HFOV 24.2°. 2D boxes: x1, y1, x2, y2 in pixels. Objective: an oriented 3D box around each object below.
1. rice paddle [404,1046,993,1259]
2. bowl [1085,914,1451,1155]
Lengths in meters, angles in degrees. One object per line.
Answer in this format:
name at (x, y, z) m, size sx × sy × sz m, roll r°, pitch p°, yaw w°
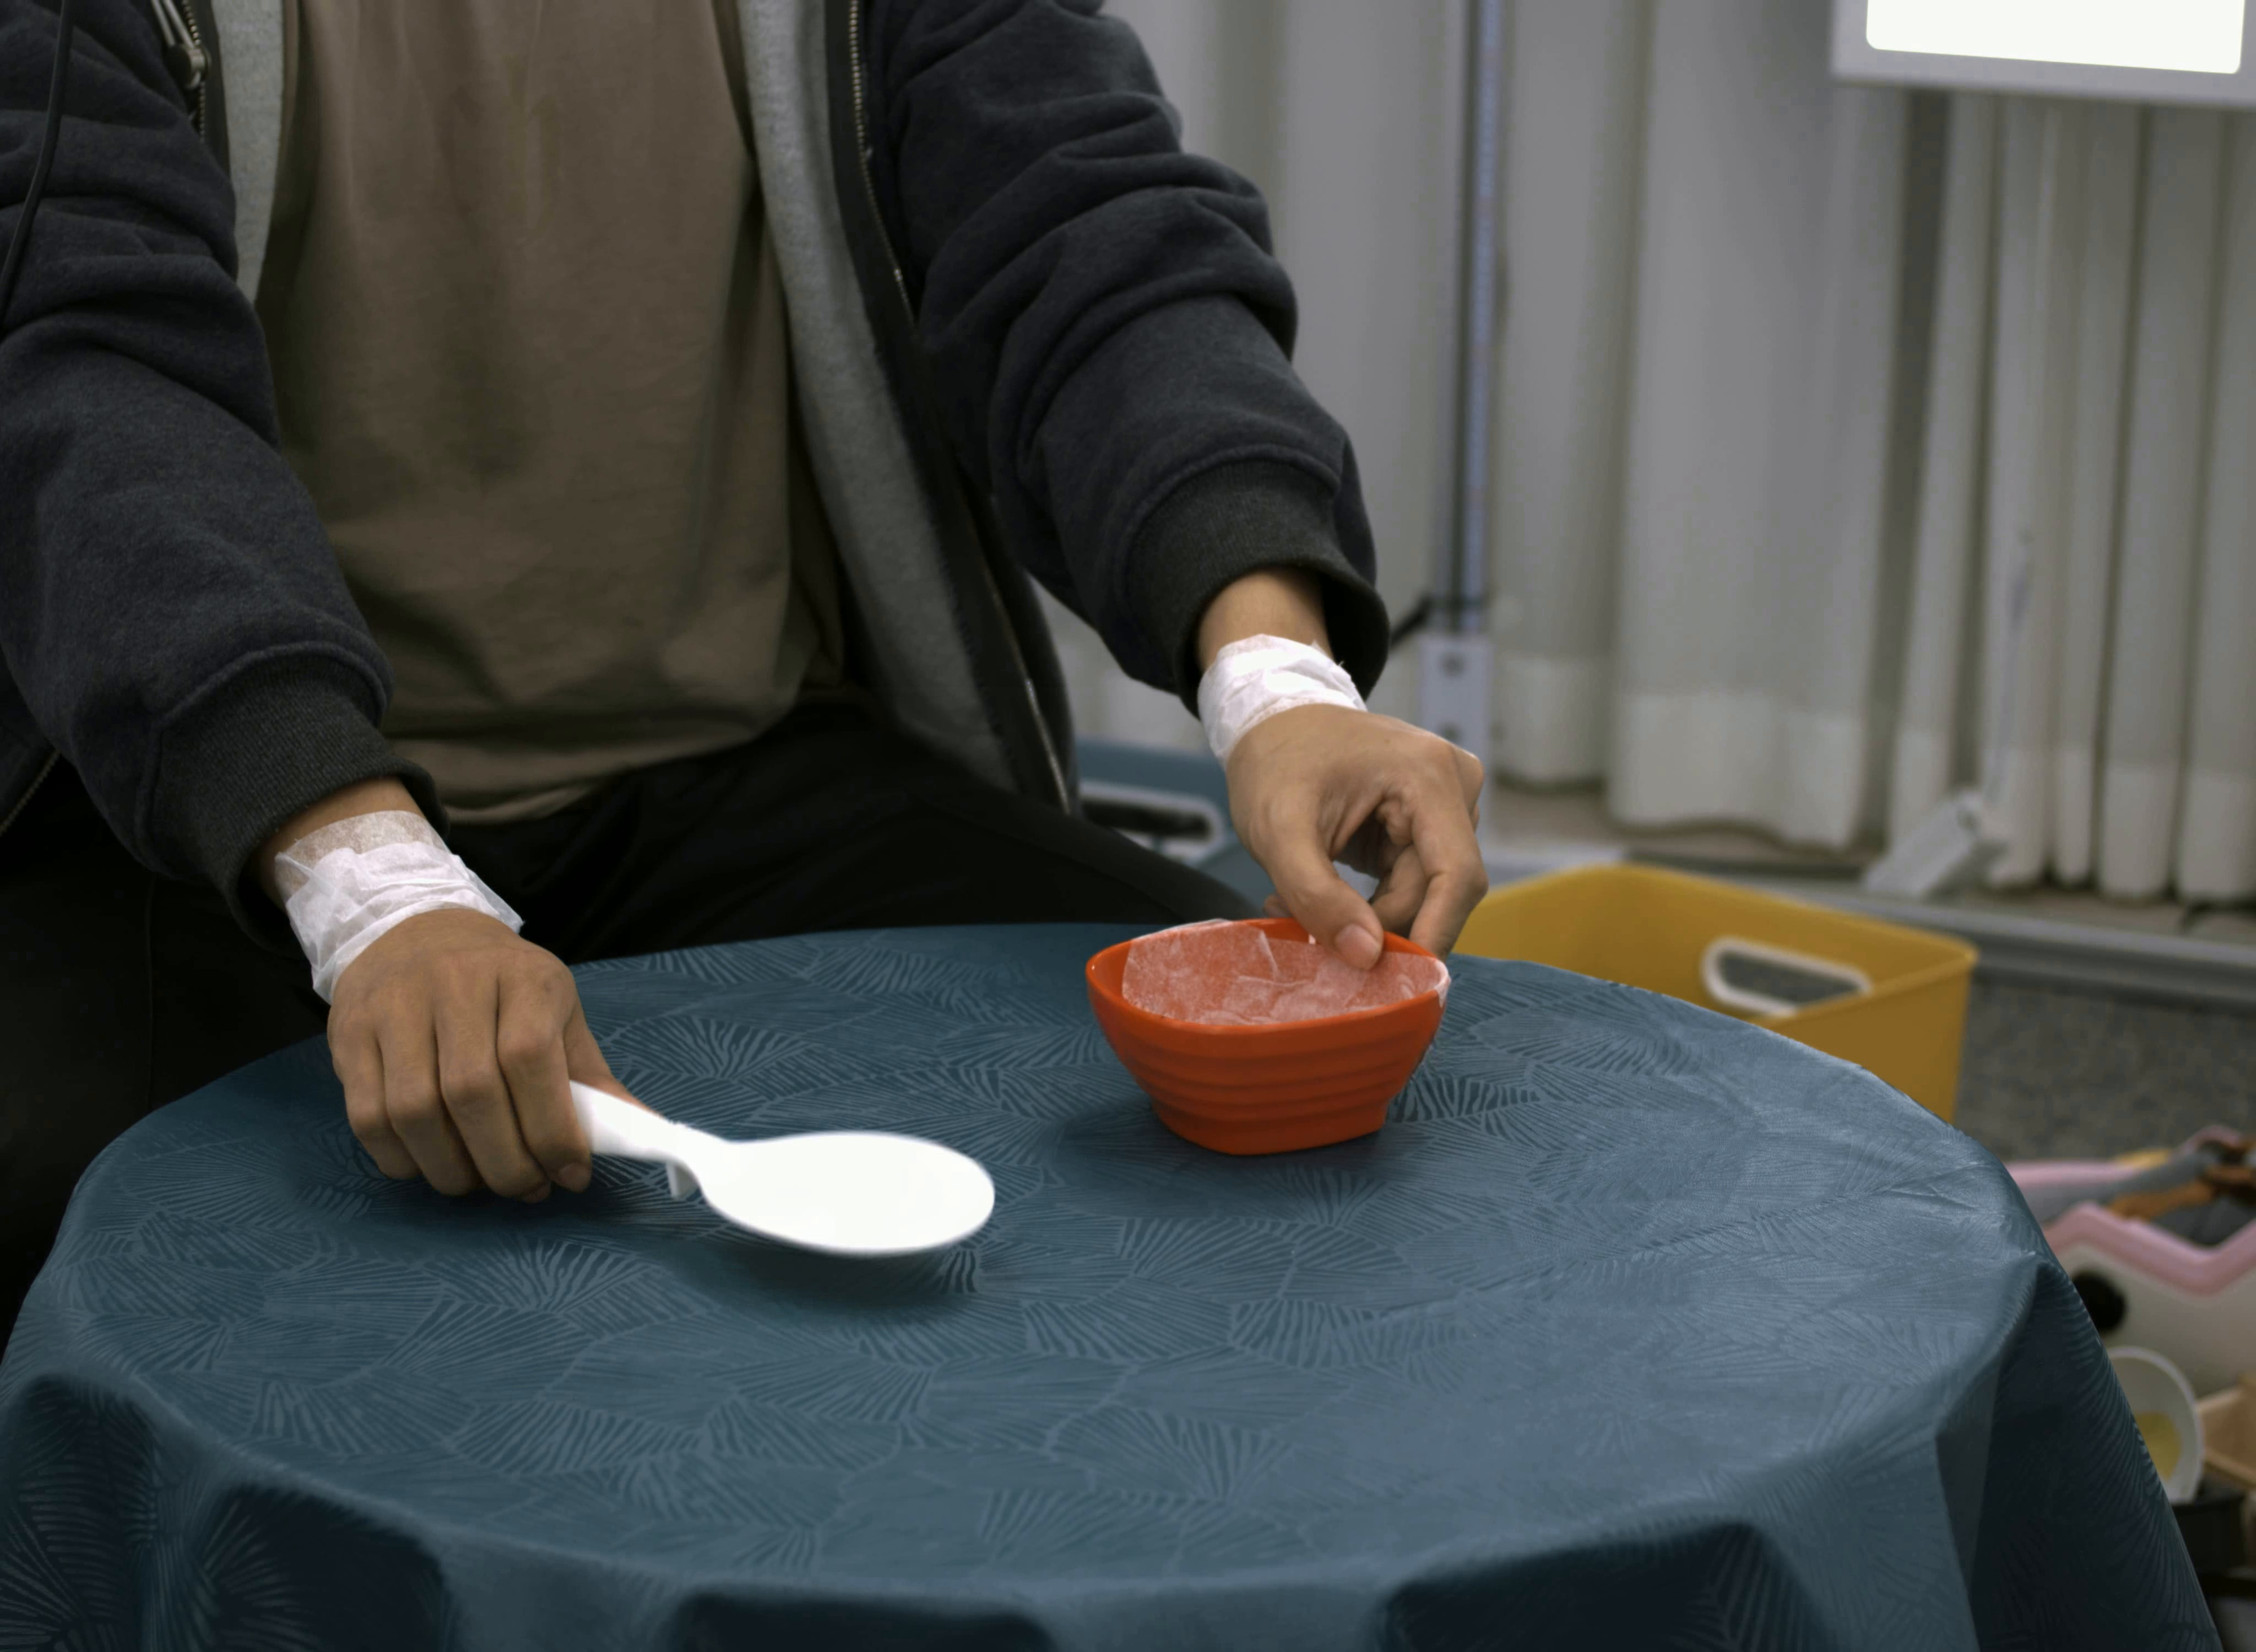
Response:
rice paddle at (-0.129, 0.098, 1.578) m, size 0.203 × 0.030 × 0.069 m, roll 11°, pitch 28°, yaw 31°
bowl at (0.044, 0.068, 1.681) m, size 0.118 × 0.052 × 0.118 m, roll 0°, pitch 17°, yaw 0°
